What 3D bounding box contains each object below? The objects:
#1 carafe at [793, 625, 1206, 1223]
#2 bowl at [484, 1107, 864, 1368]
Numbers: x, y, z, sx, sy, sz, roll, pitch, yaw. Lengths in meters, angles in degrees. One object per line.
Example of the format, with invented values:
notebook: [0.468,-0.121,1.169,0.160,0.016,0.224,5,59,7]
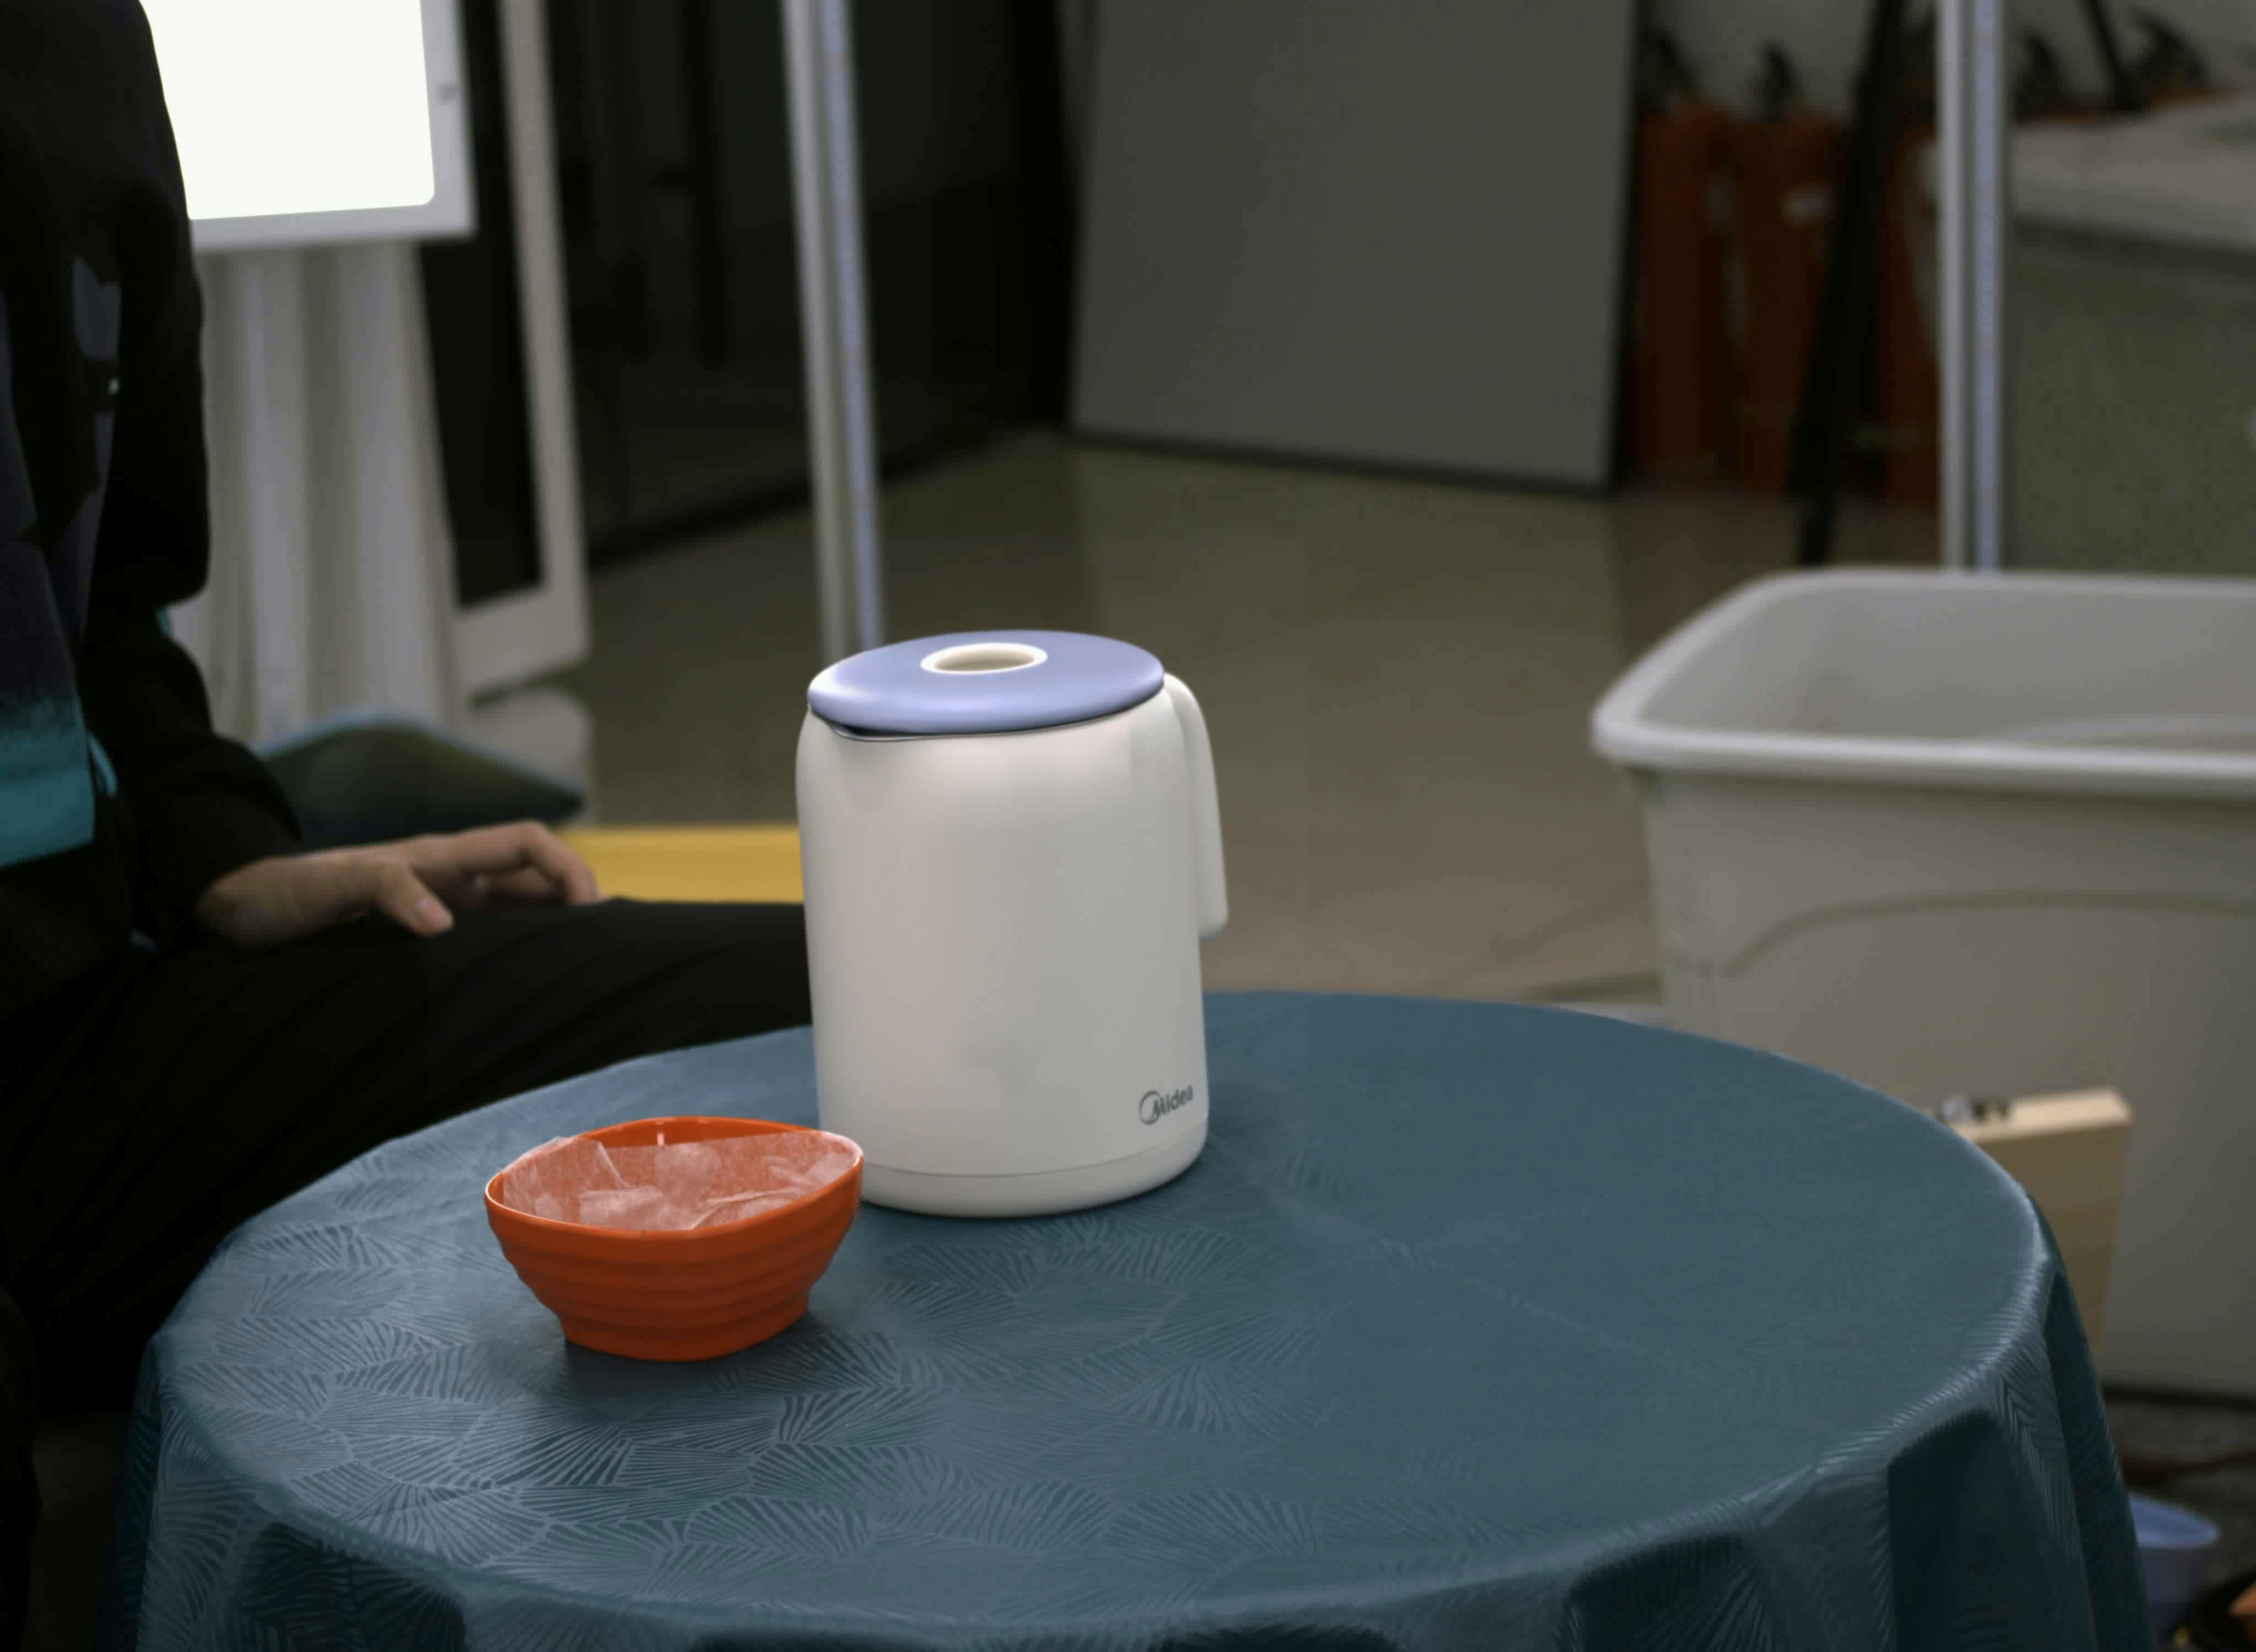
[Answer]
carafe: [-0.030,0.027,1.807,0.133,0.184,0.187,7,15,35]
bowl: [-0.138,0.129,1.667,0.117,0.052,0.119,-3,17,0]
